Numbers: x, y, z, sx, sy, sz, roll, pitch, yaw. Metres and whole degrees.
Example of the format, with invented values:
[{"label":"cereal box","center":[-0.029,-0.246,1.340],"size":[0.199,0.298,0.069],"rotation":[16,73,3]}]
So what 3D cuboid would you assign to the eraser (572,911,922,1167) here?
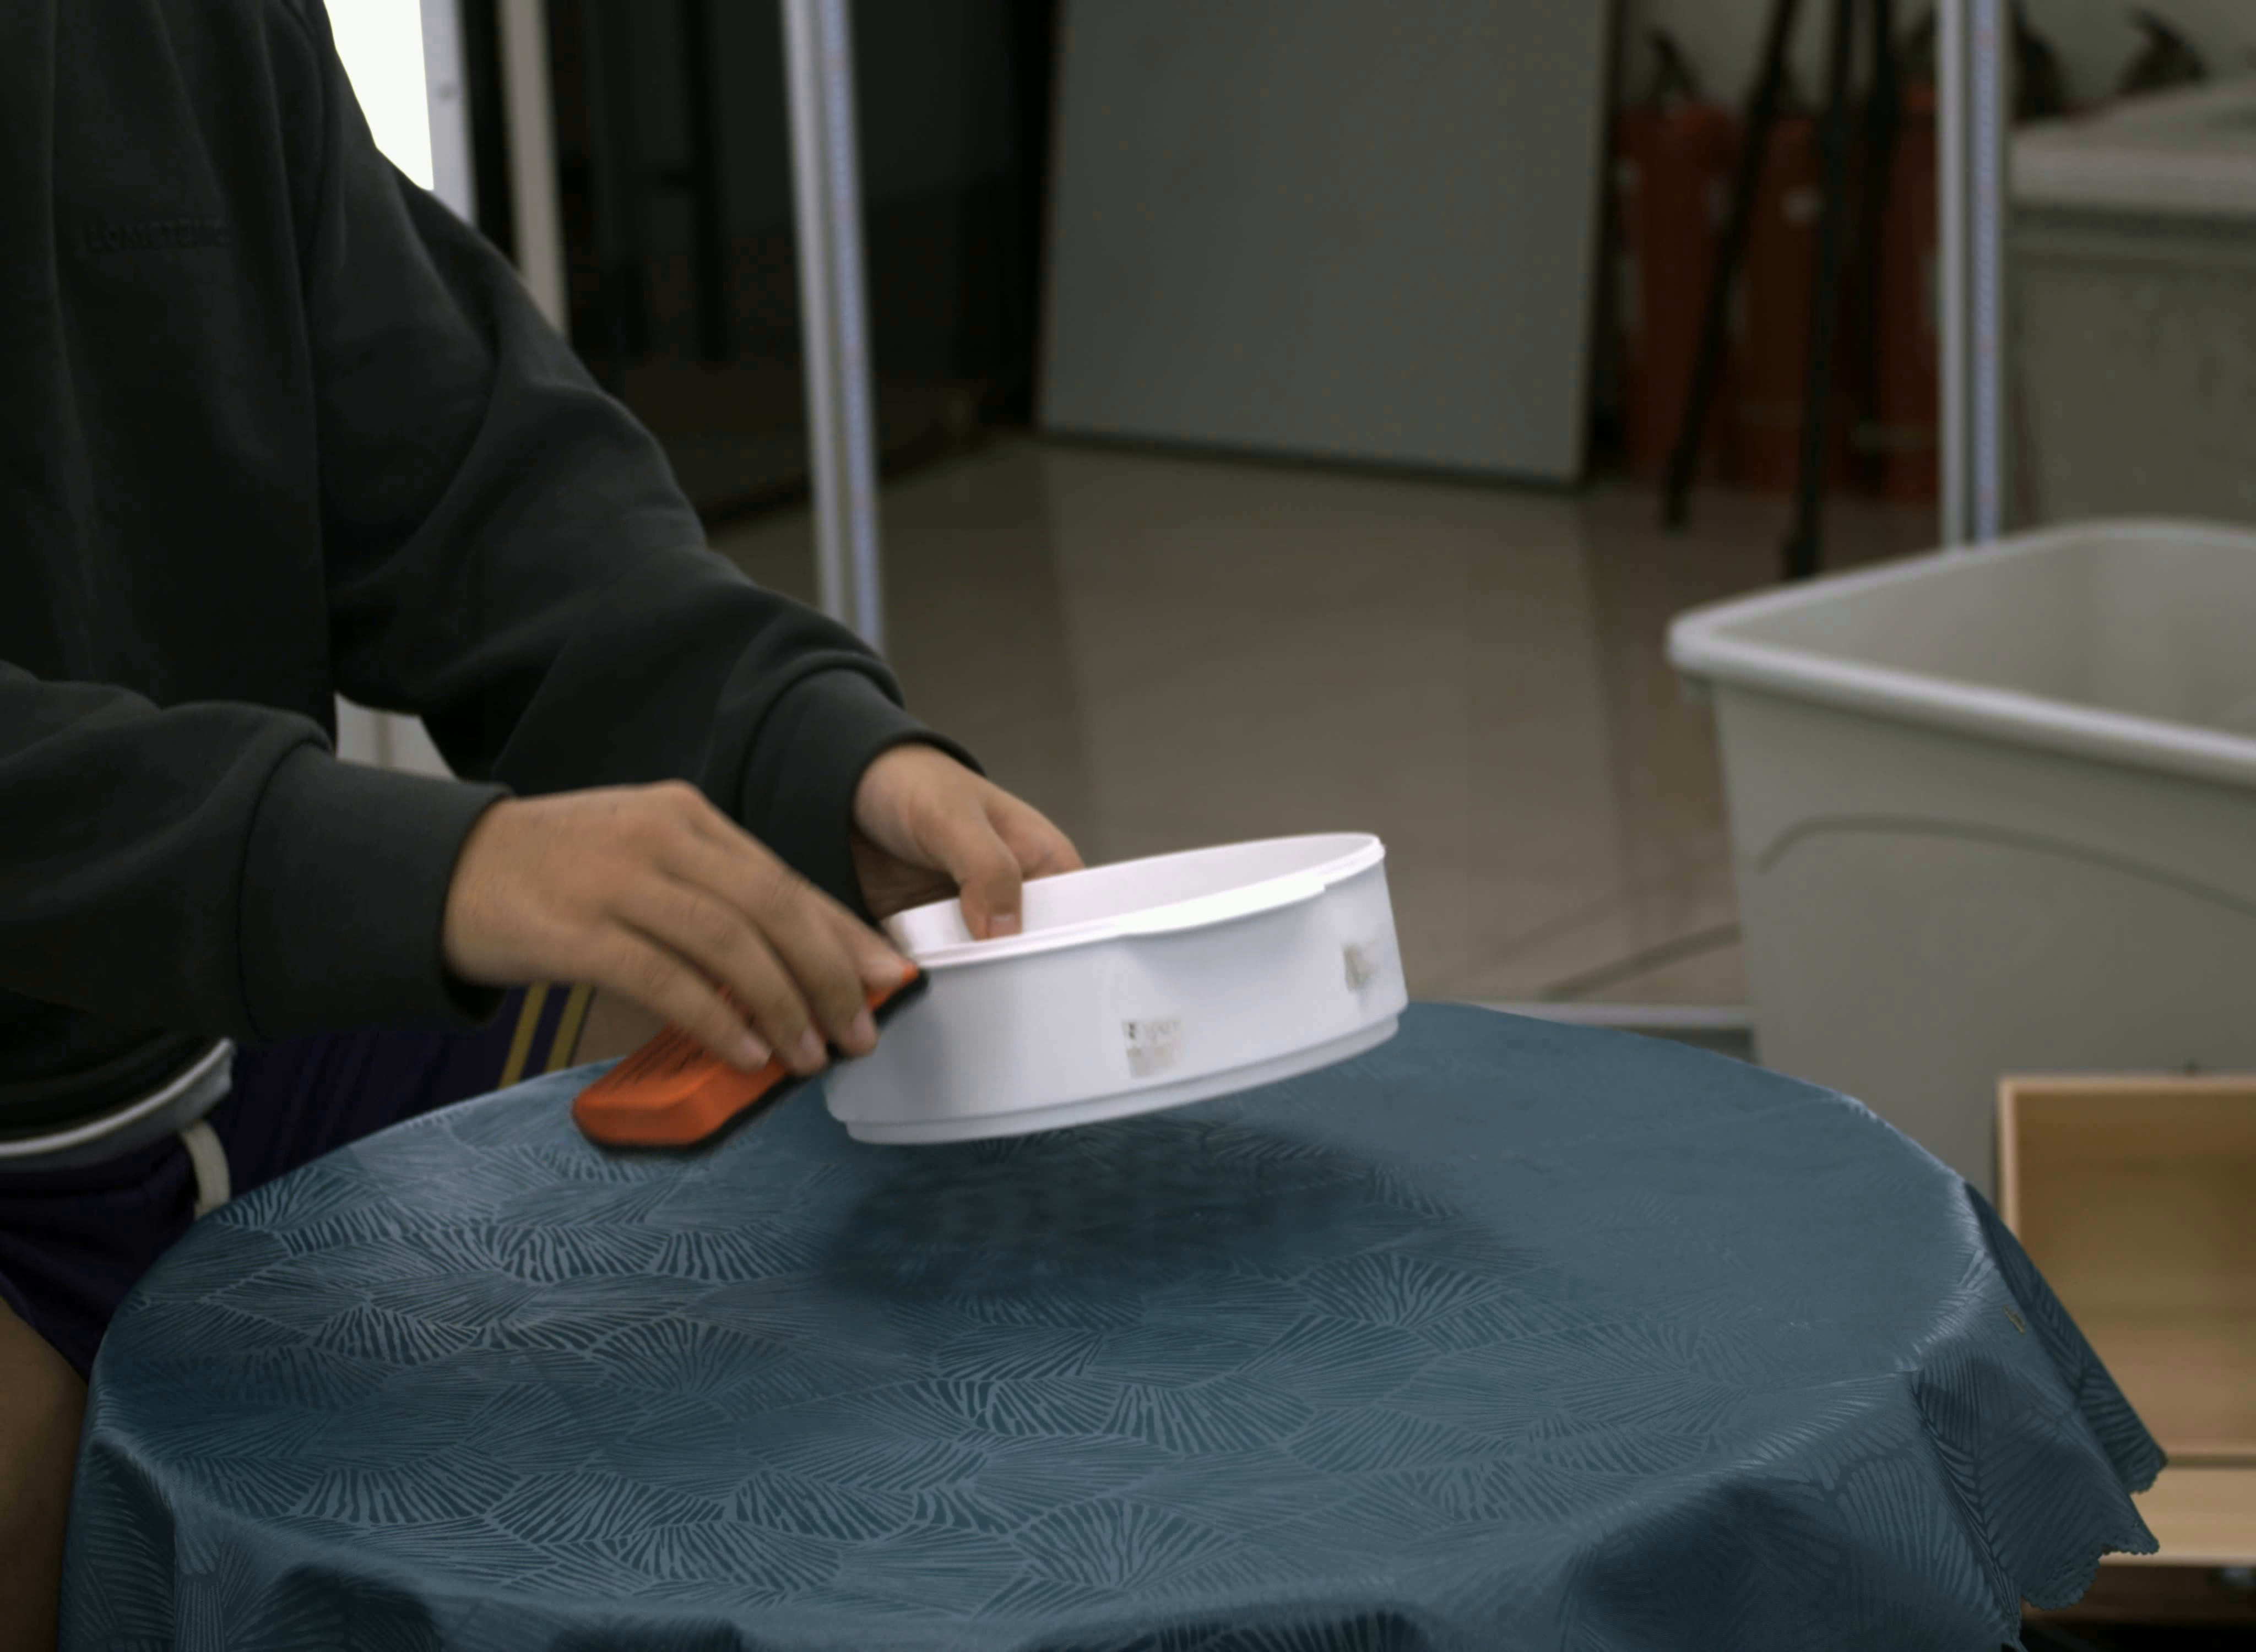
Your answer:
[{"label":"eraser","center":[-0.115,0.064,1.632],"size":[0.106,0.023,0.059],"rotation":[-39,16,-35]}]

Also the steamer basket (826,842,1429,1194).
[{"label":"steamer basket","center":[0.000,0.063,1.750],"size":[0.198,0.070,0.233],"rotation":[-17,3,-26]}]
